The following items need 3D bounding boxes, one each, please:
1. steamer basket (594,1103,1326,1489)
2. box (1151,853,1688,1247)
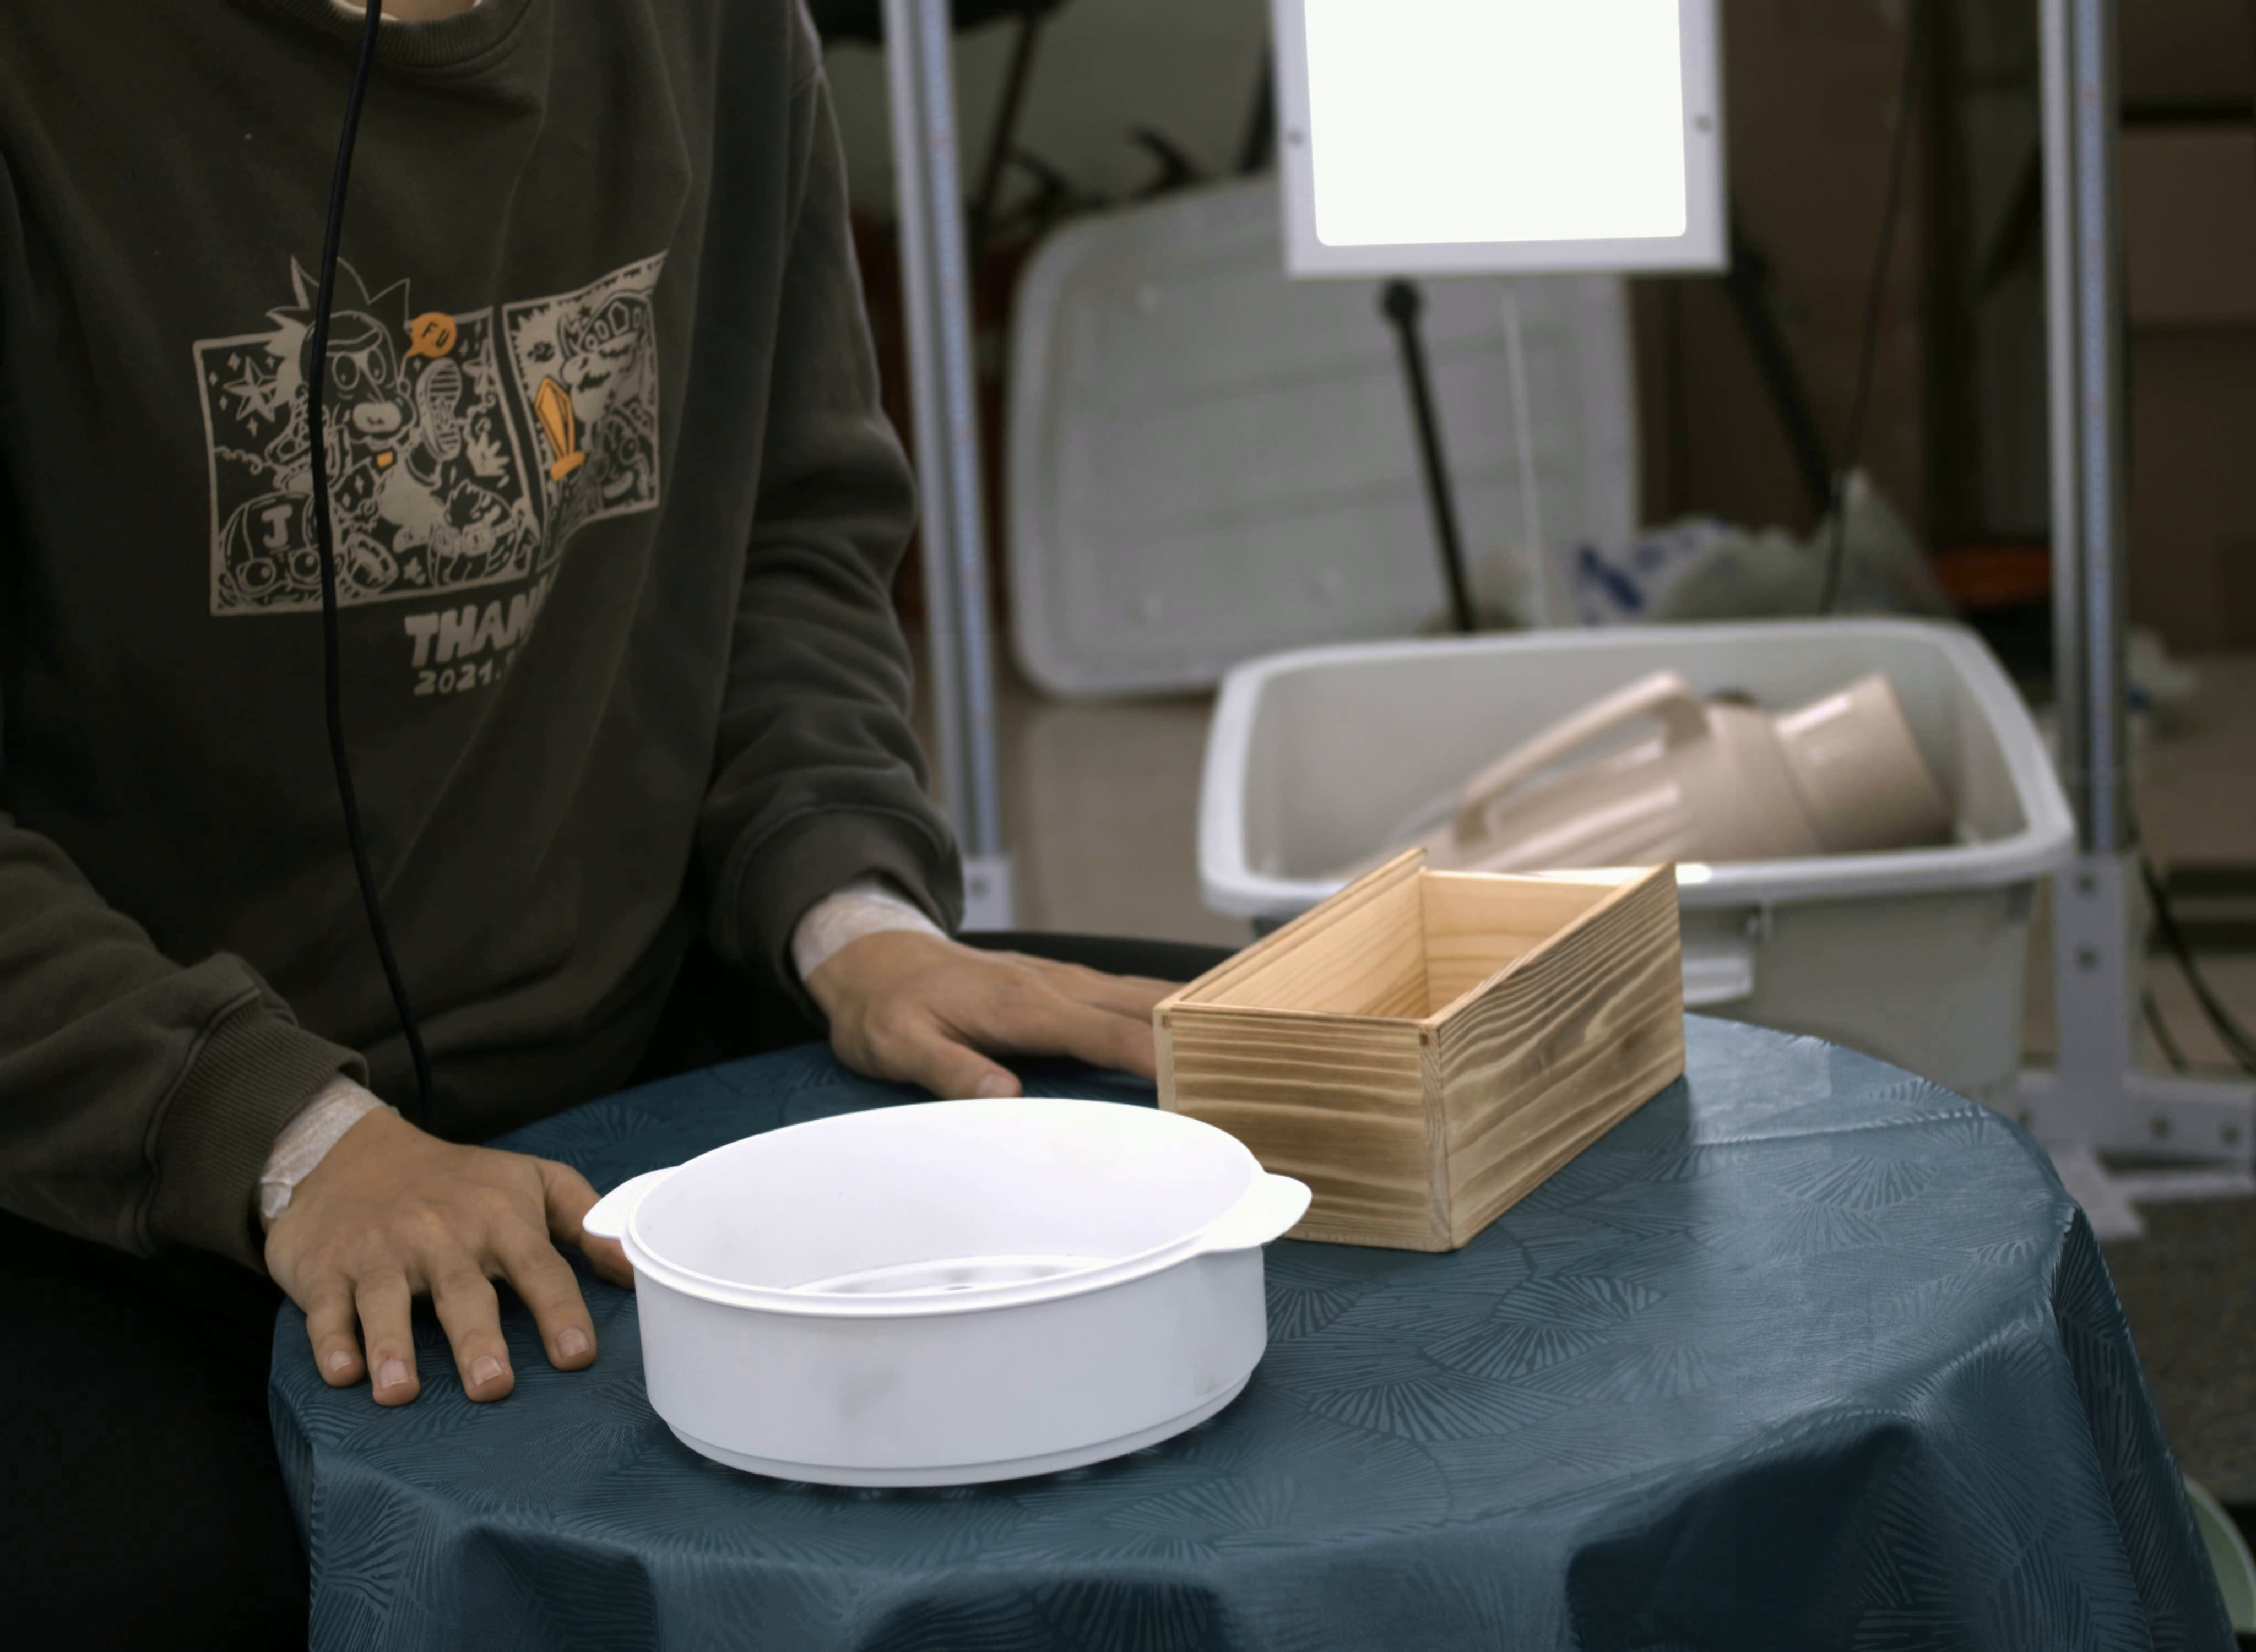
[{"bbox_3d":[-0.050,0.144,1.702,0.233,0.069,0.198,-2,13,19],"label":"steamer basket"},{"bbox_3d":[0.105,0.074,1.903,0.109,0.080,0.207,2,15,28],"label":"box"}]
